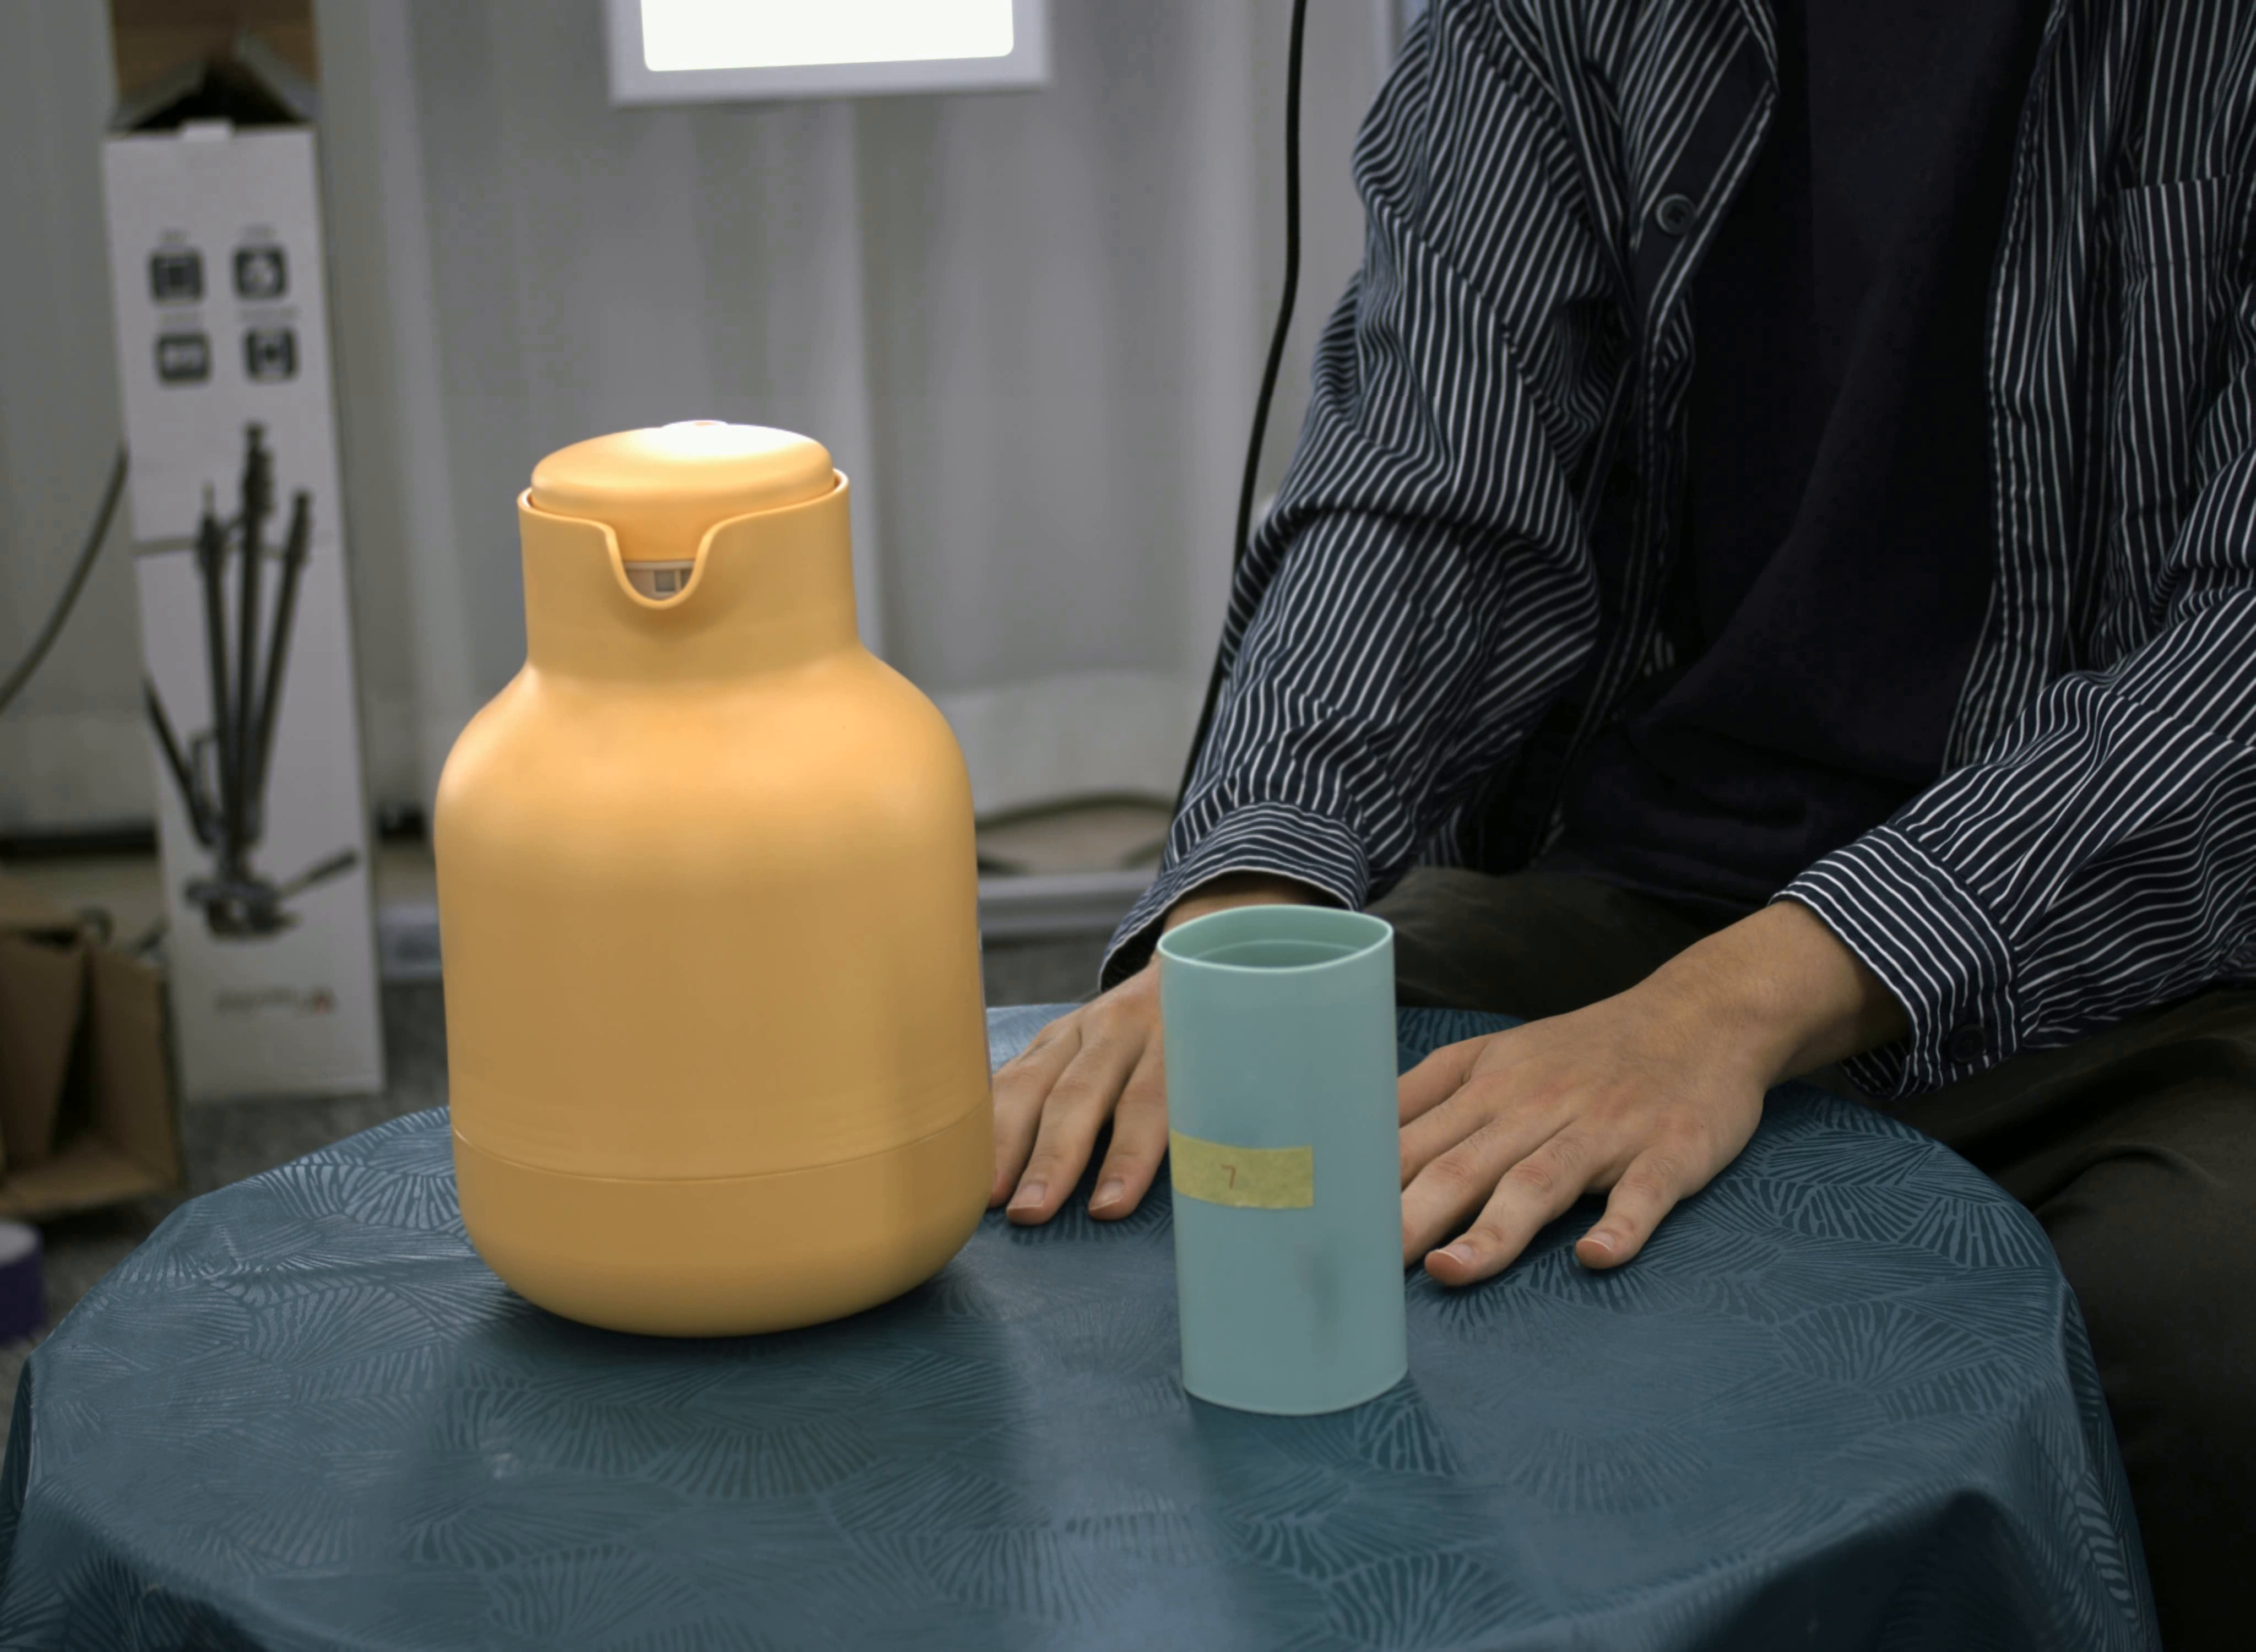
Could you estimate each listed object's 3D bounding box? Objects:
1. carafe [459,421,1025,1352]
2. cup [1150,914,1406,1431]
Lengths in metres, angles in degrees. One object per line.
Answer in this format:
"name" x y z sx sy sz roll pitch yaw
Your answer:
"carafe" -0.115 0.009 1.634 0.163 0.259 0.204 -2 14 0
"cup" 0.044 0.096 1.535 0.066 0.132 0.067 -4 15 1
